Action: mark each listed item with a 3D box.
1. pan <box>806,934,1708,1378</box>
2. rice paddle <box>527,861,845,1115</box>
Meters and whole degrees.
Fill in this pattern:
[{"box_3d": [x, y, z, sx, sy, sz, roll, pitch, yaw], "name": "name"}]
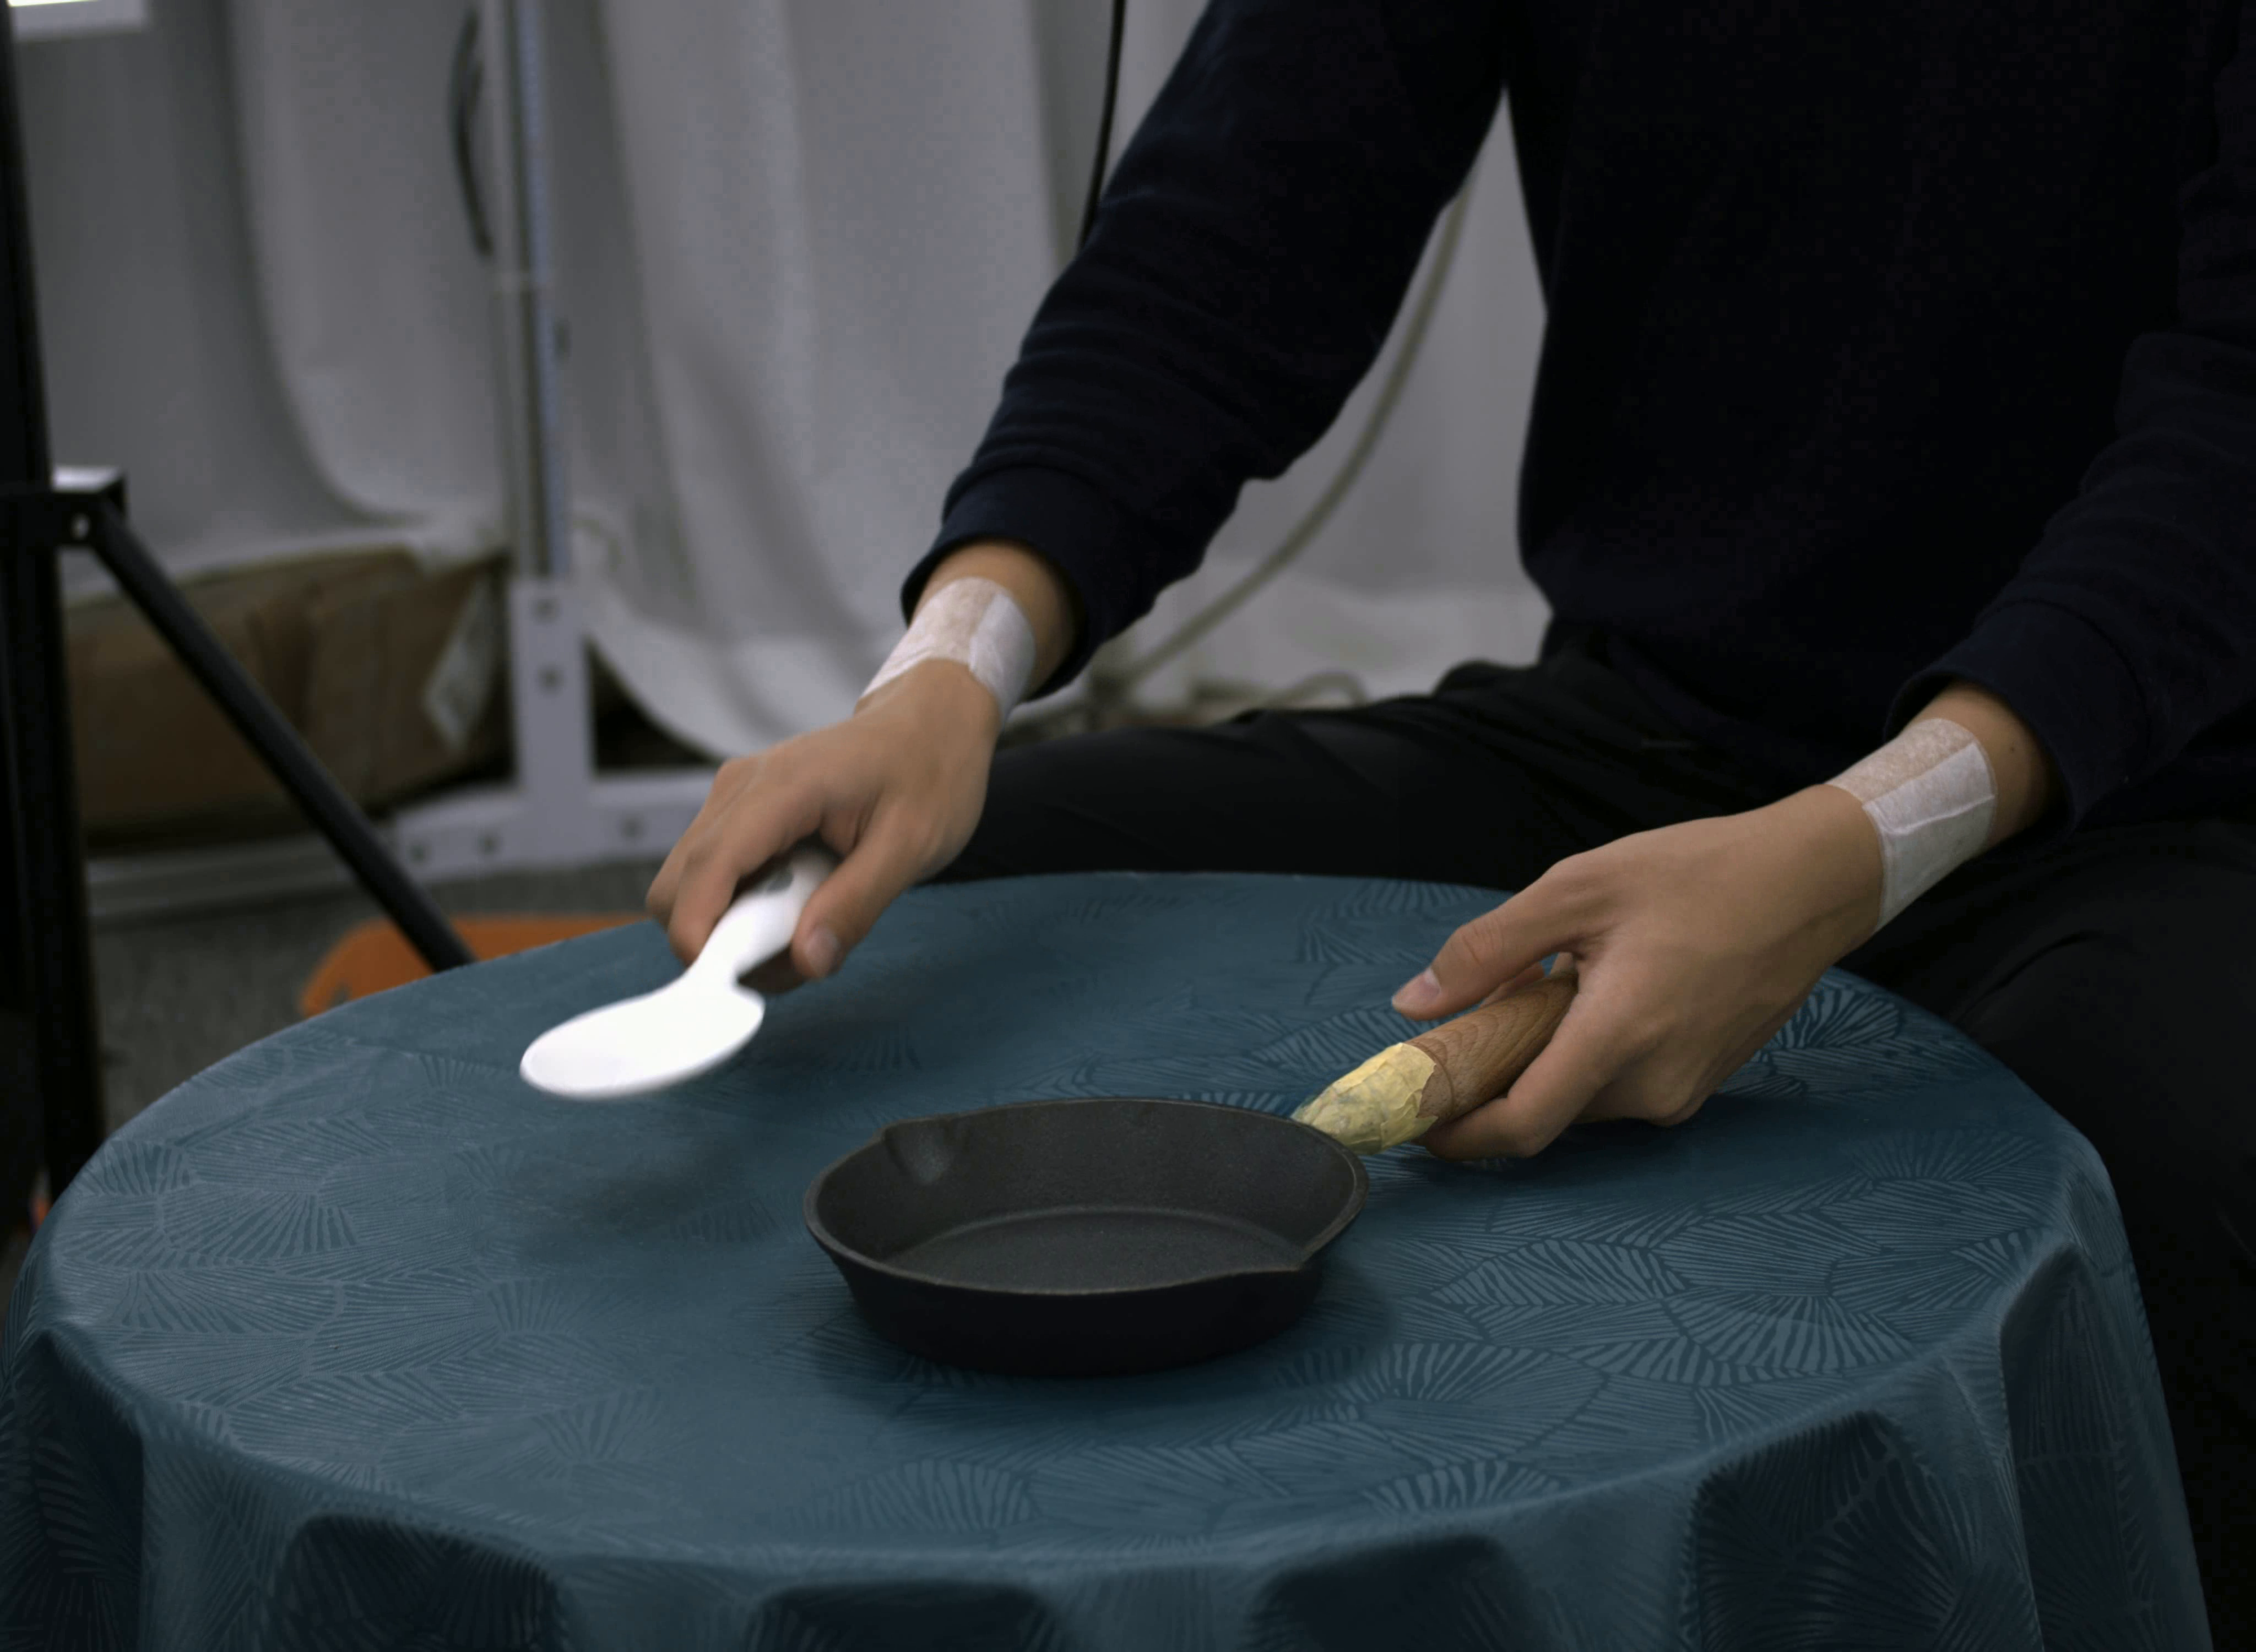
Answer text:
[{"box_3d": [0.053, 0.090, 1.519, 0.317, 0.049, 0.173, -17, 21, -35], "name": "pan"}, {"box_3d": [-0.128, 0.052, 1.619, 0.069, 0.029, 0.204, -4, 14, 15], "name": "rice paddle"}]
